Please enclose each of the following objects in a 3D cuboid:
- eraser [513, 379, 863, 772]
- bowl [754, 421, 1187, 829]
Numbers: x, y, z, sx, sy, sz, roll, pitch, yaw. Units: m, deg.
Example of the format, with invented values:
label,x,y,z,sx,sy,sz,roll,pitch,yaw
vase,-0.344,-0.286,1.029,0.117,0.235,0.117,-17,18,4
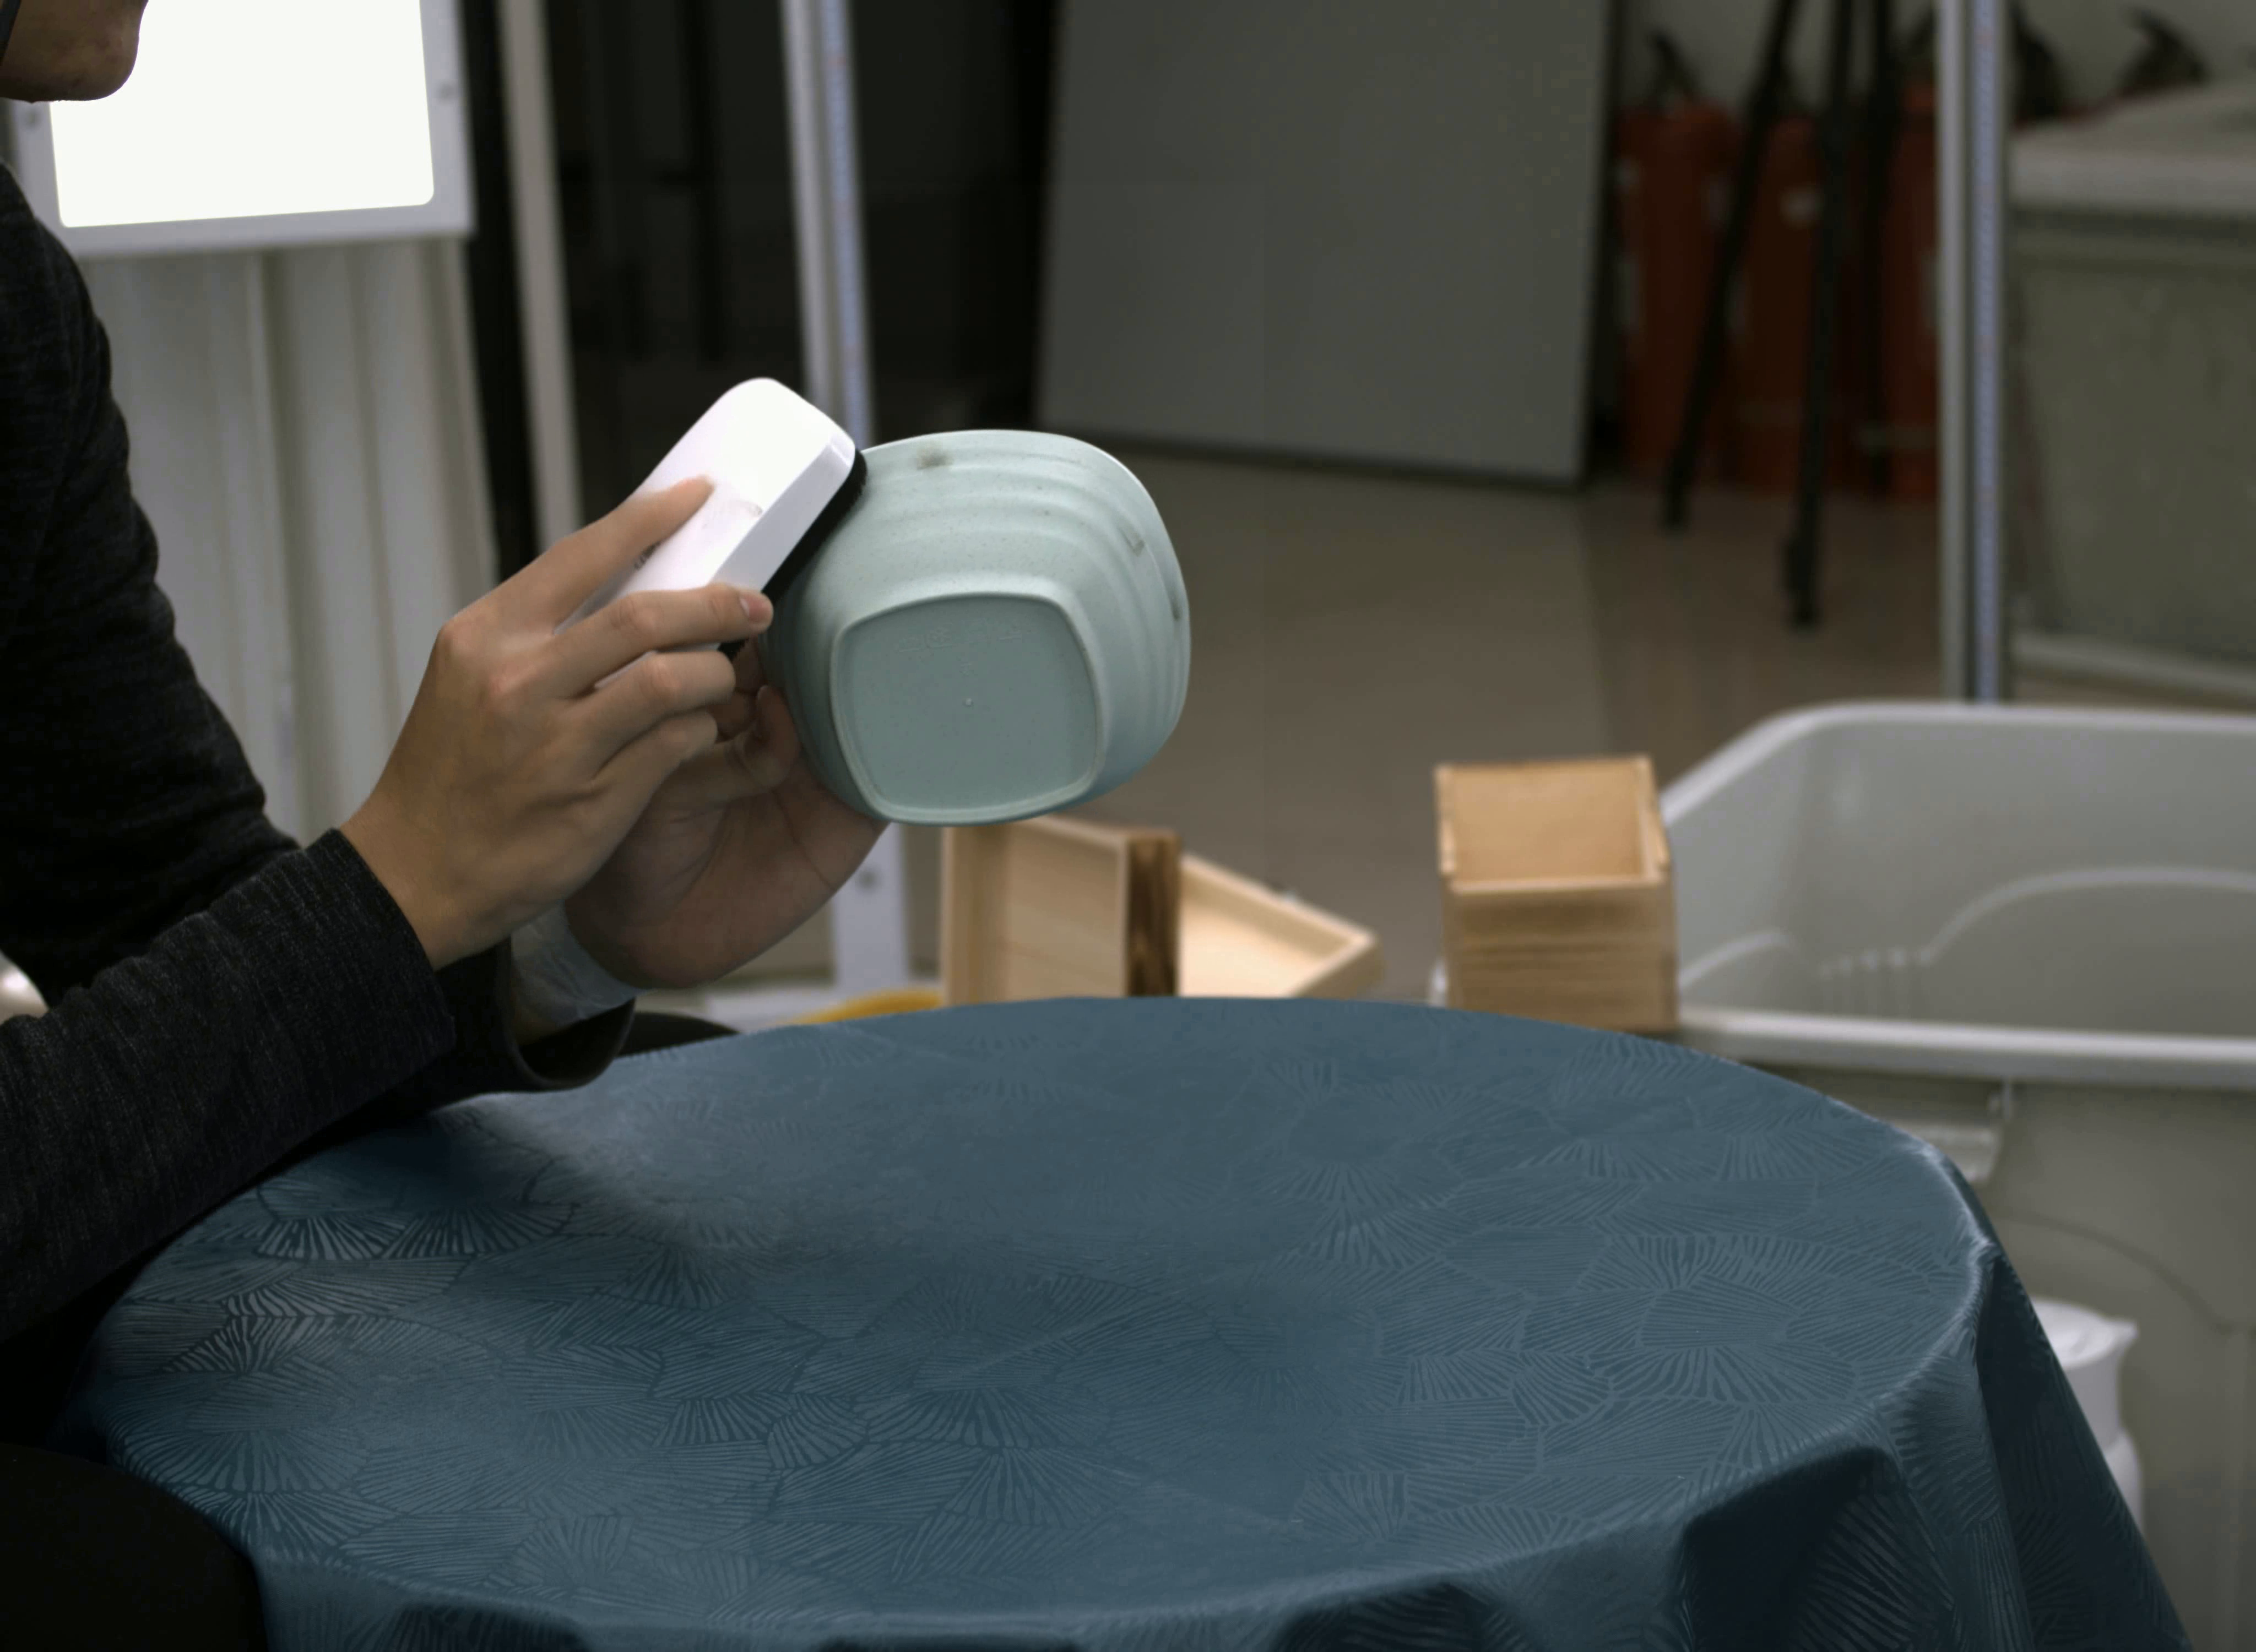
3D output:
label,x,y,z,sx,sy,sz,roll,pitch,yaw
eraser,-0.139,-0.080,1.686,0.034,0.131,0.064,41,-4,-37
bowl,-0.051,-0.052,1.702,0.150,0.152,0.059,-2,31,5
